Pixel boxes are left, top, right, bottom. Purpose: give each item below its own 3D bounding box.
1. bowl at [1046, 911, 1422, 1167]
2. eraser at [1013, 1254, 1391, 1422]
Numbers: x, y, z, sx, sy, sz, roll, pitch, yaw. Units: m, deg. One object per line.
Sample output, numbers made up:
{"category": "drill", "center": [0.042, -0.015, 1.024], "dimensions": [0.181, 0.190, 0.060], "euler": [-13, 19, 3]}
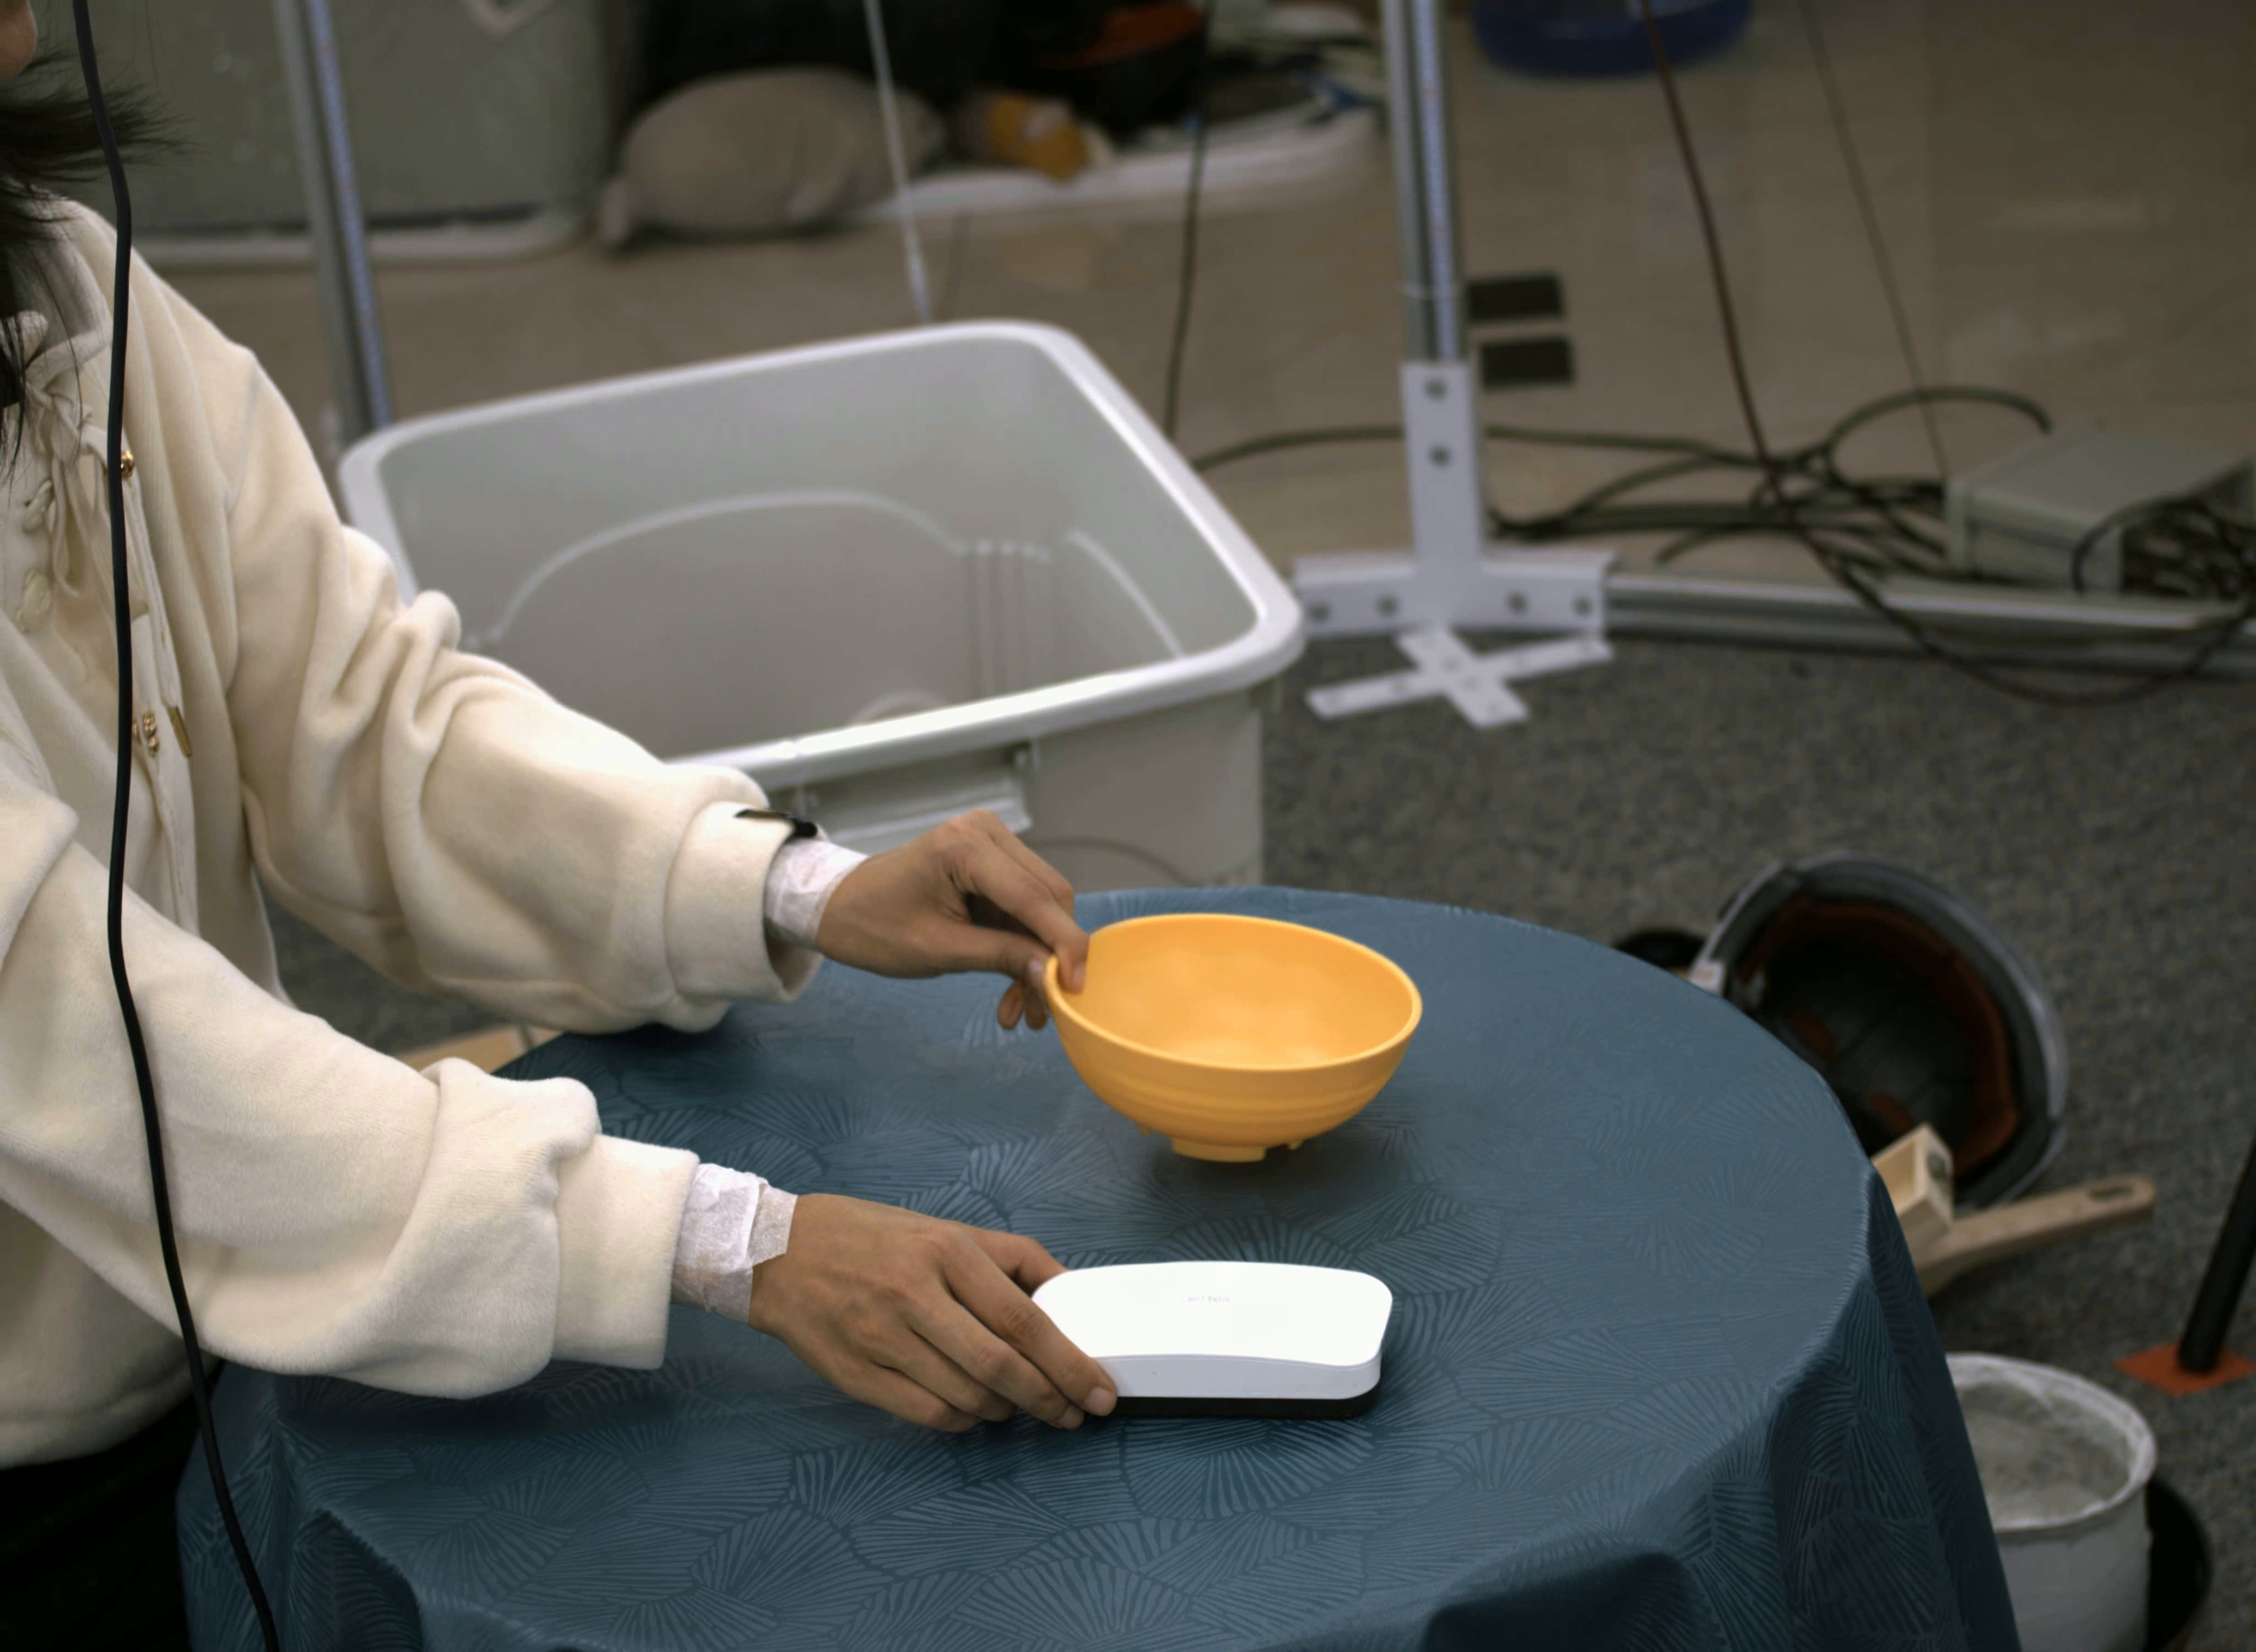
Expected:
{"category": "bowl", "center": [0.038, 0.089, 2.165], "dimensions": [0.145, 0.061, 0.143], "euler": [5, 24, -2]}
{"category": "eraser", "center": [0.027, 0.182, 2.010], "dimensions": [0.131, 0.035, 0.062], "euler": [0, 27, 12]}
